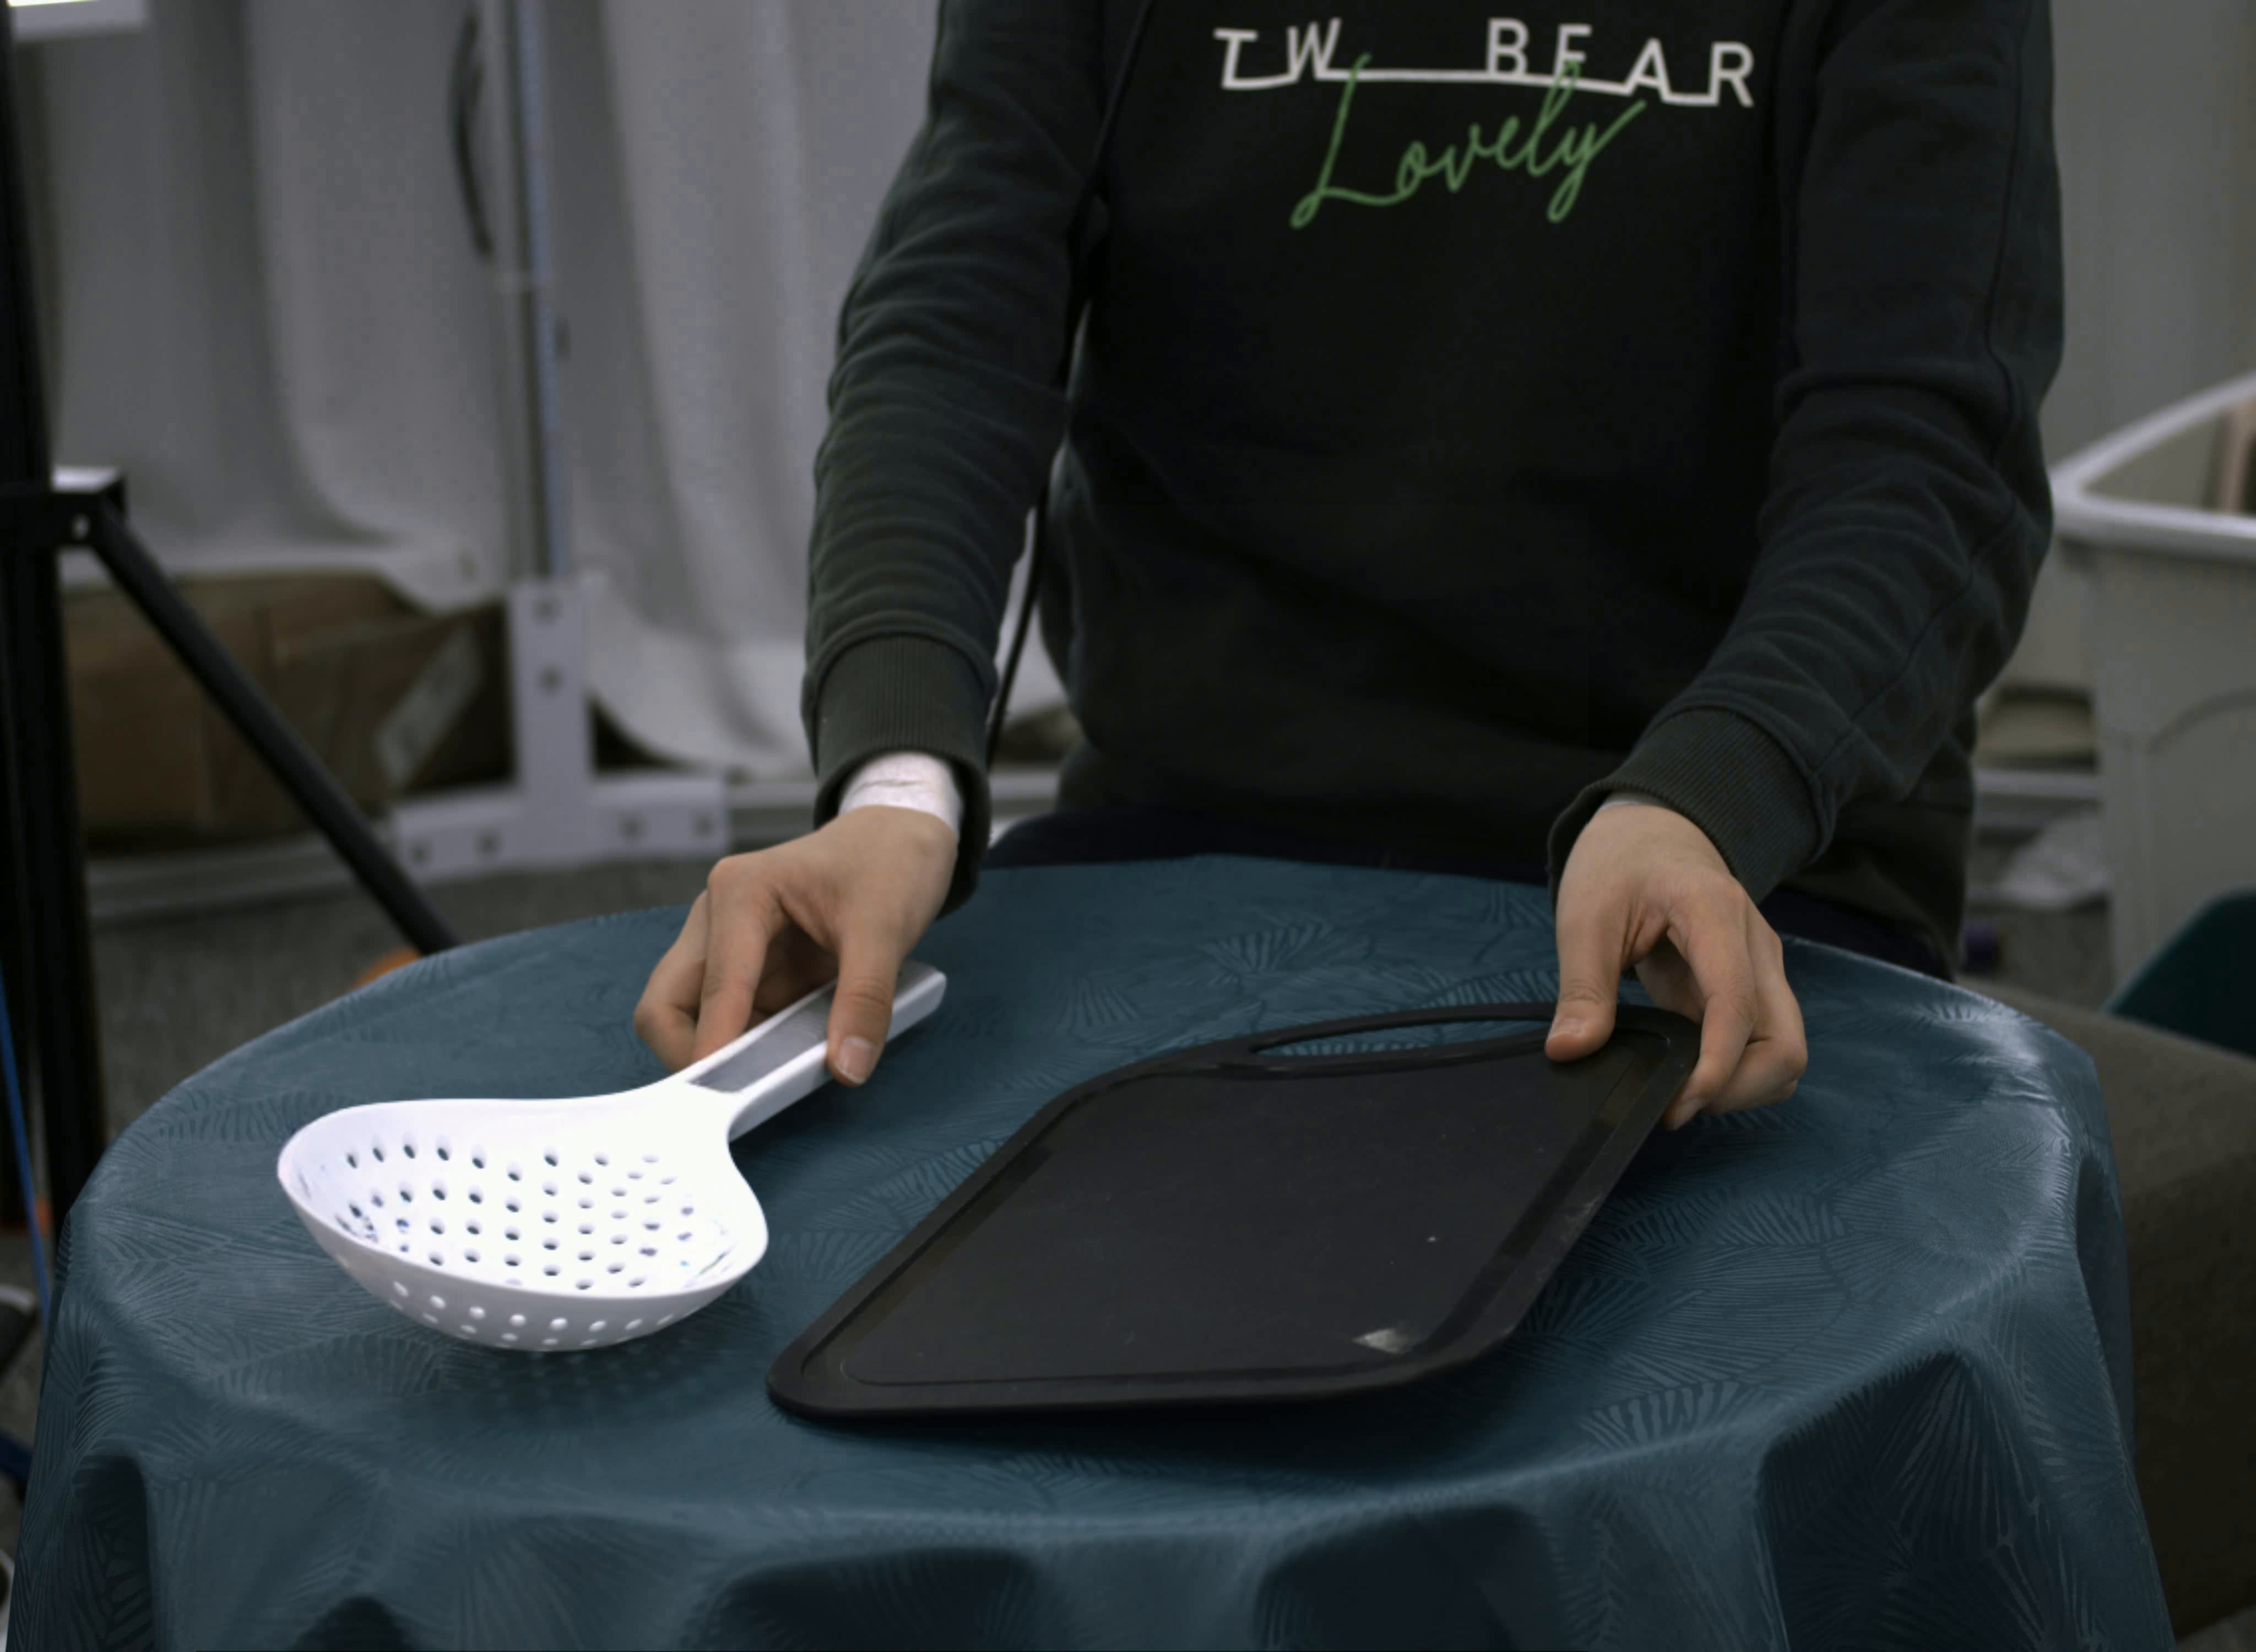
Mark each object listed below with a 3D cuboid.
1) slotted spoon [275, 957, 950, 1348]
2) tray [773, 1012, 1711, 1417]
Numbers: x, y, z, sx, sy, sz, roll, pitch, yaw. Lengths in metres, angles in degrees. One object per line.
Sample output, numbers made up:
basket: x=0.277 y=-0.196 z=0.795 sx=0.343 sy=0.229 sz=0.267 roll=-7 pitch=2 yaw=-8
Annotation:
slotted spoon: x=-0.130 y=0.085 z=1.561 sx=0.137 sy=0.046 sz=0.345 roll=17 pitch=22 yaw=17
tray: x=0.041 y=0.103 z=1.502 sx=0.213 sy=0.010 sz=0.322 roll=-5 pitch=14 yaw=22
